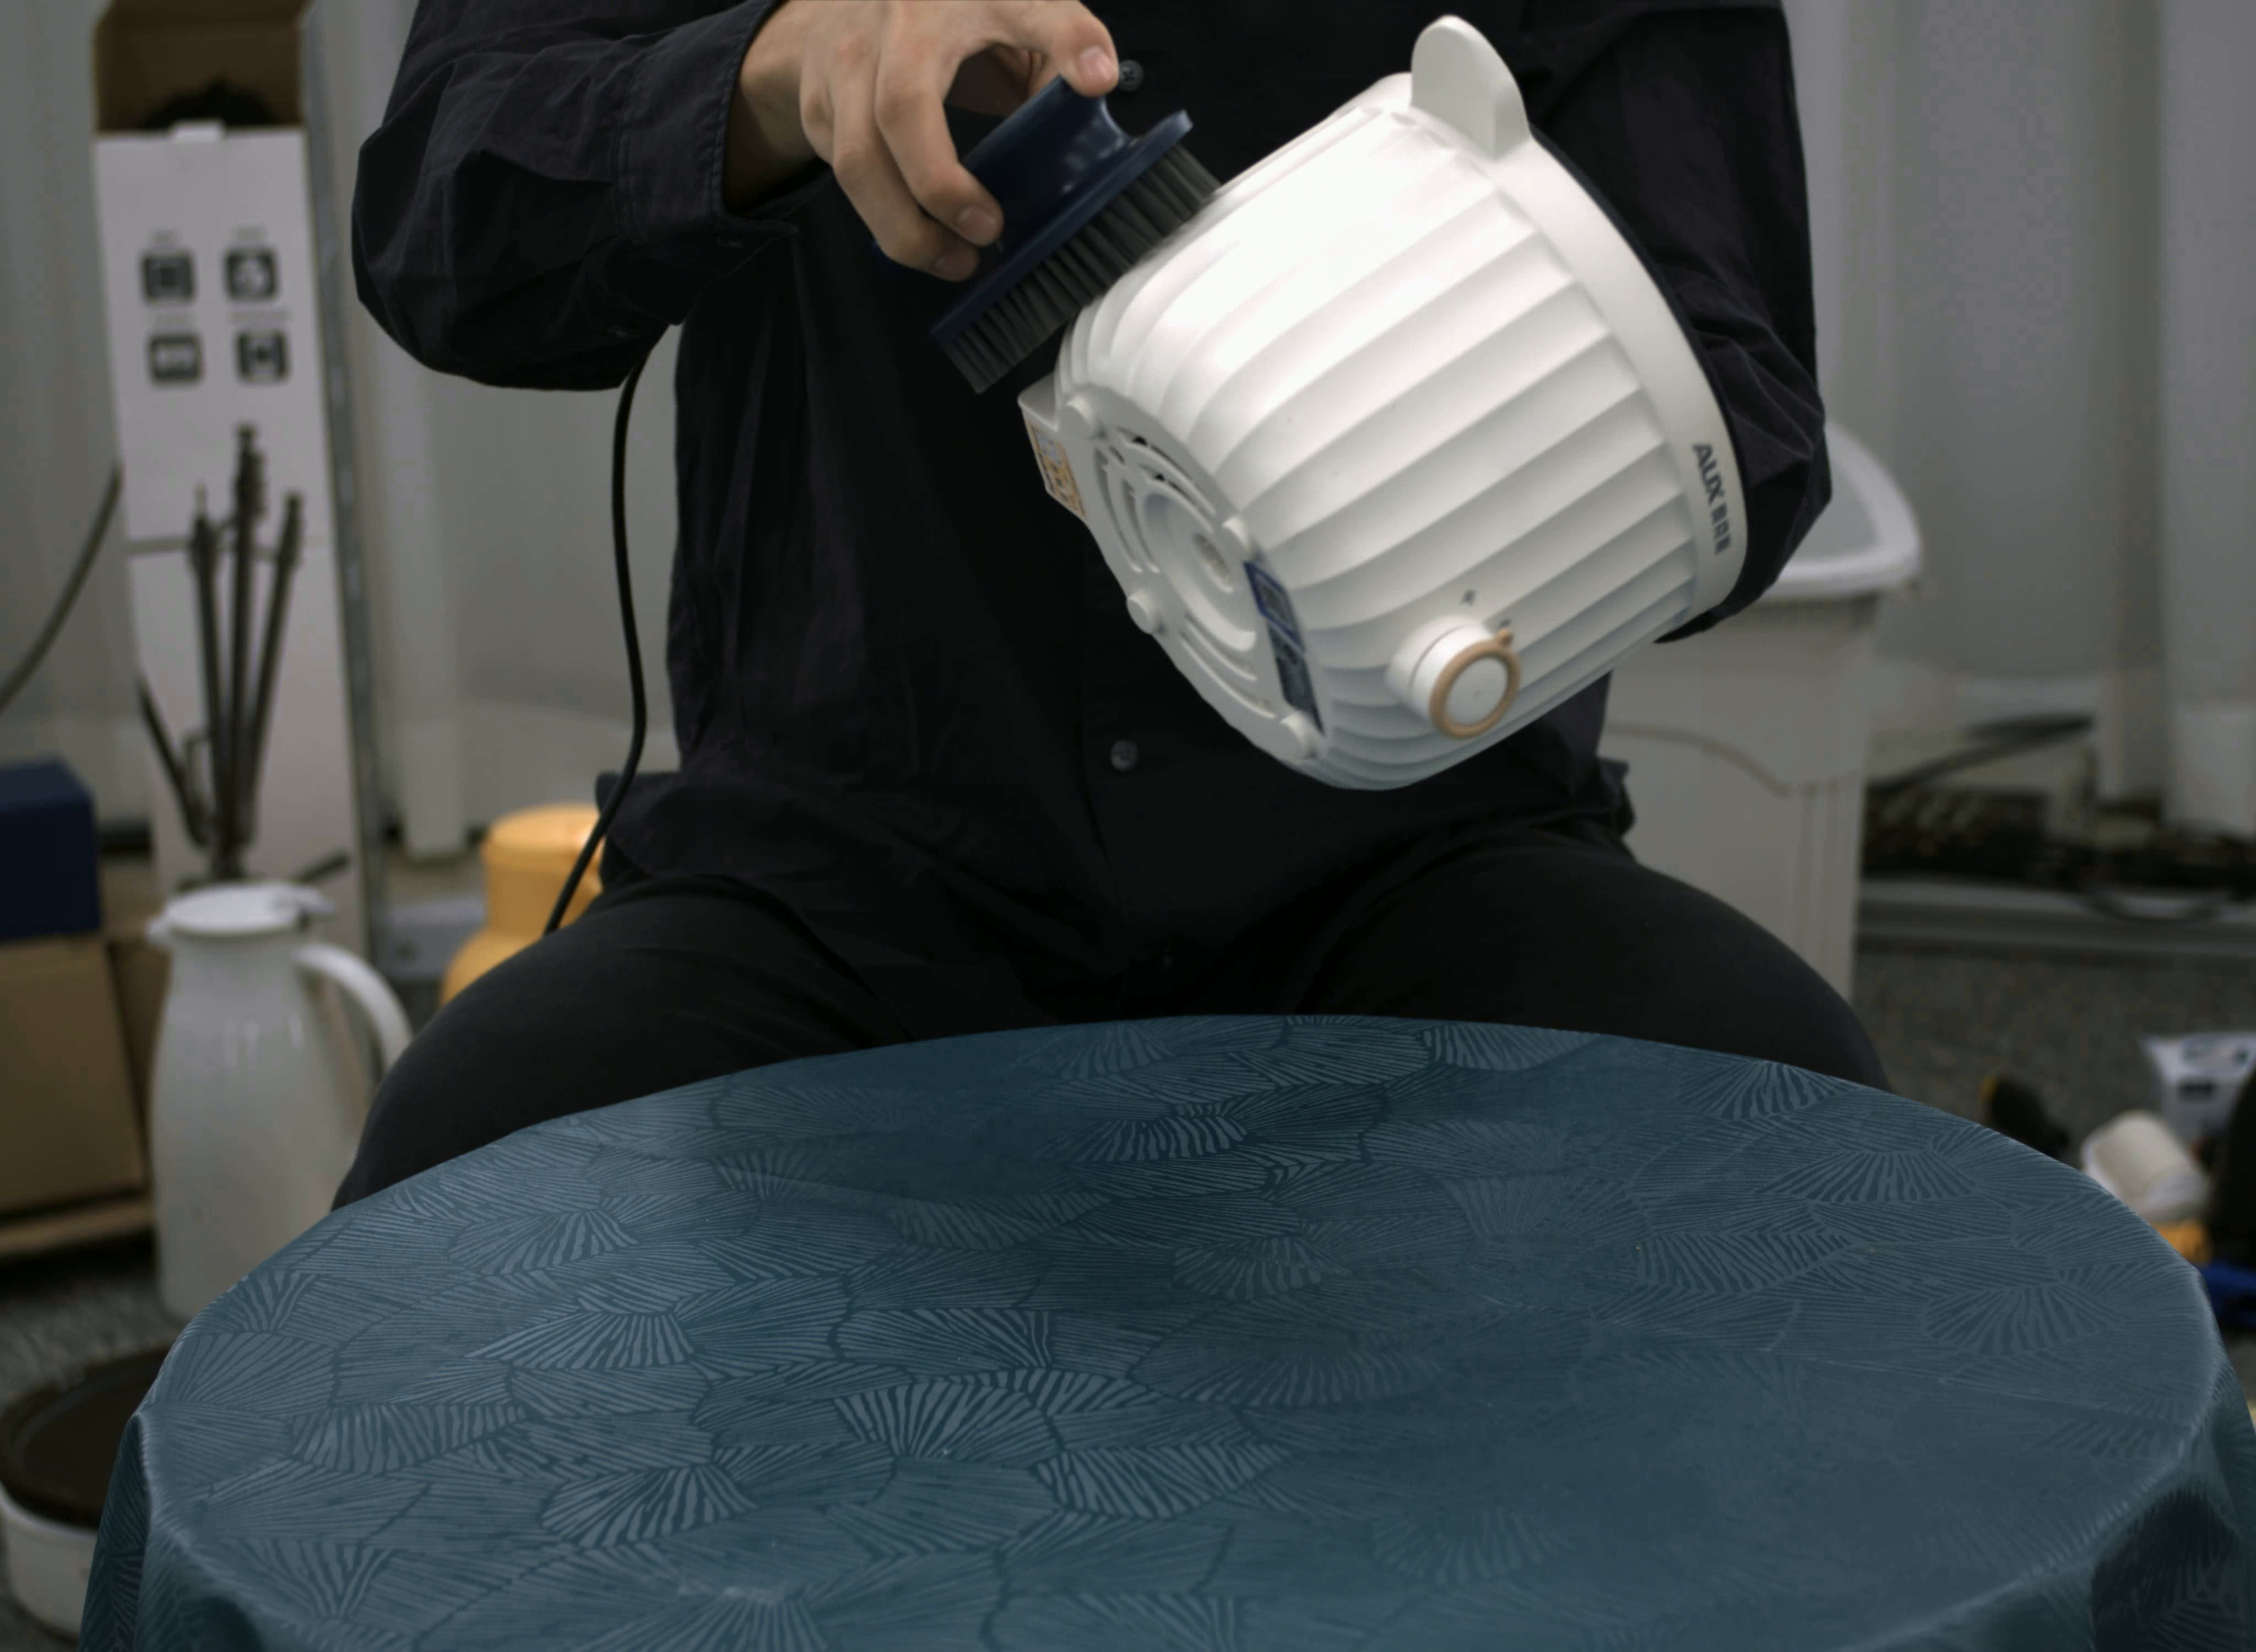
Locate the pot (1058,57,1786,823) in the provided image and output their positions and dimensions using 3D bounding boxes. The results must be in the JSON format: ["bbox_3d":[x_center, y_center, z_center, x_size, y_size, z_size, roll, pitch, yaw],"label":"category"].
[{"bbox_3d":[0.085,-0.093,1.590,0.143,0.237,0.193,-36,47,-17],"label":"pot"}]

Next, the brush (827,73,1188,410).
[{"bbox_3d":[-0.034,-0.167,1.593,0.121,0.061,0.068,-30,15,51],"label":"brush"}]
